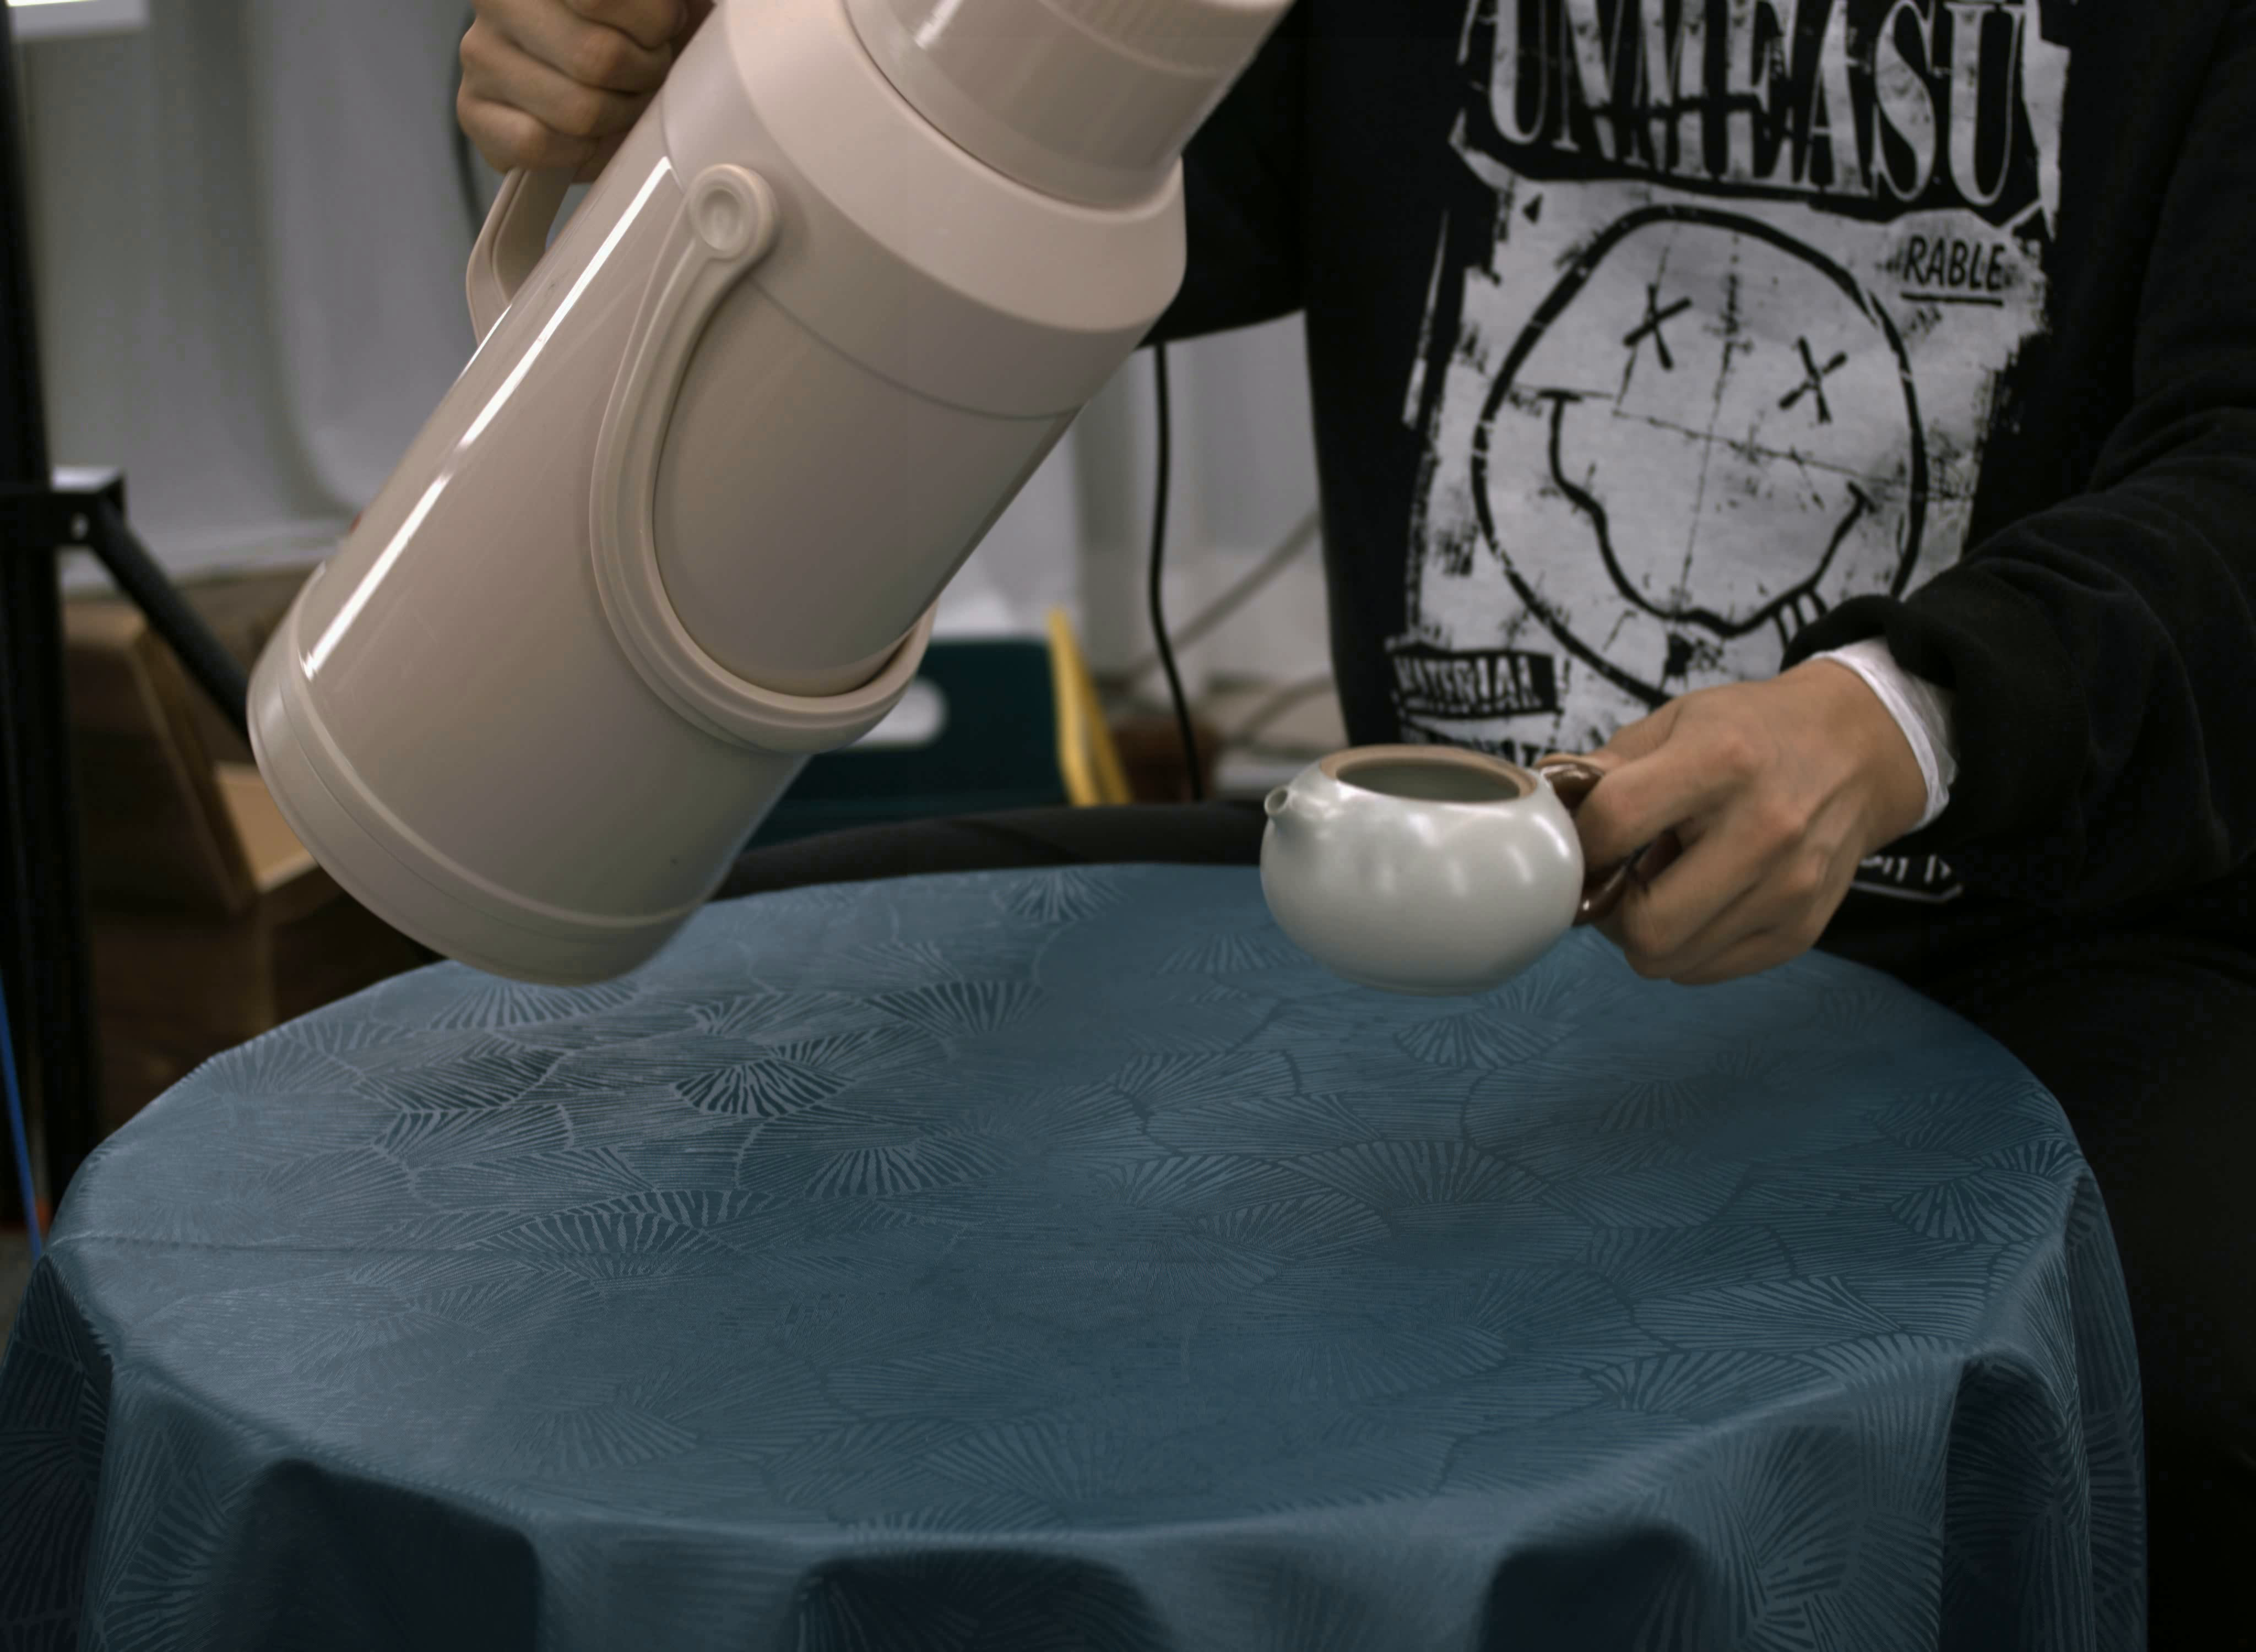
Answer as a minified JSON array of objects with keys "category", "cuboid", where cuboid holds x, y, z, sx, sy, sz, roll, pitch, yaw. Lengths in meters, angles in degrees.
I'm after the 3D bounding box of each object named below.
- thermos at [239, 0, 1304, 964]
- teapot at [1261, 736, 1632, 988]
[{"category":"thermos","cuboid":[-0.110,-0.151,1.593,0.171,0.410,0.209,-17,65,-51]},{"category":"teapot","cuboid":[0.091,0.009,1.496,0.125,0.059,0.094,-7,16,-33]}]
